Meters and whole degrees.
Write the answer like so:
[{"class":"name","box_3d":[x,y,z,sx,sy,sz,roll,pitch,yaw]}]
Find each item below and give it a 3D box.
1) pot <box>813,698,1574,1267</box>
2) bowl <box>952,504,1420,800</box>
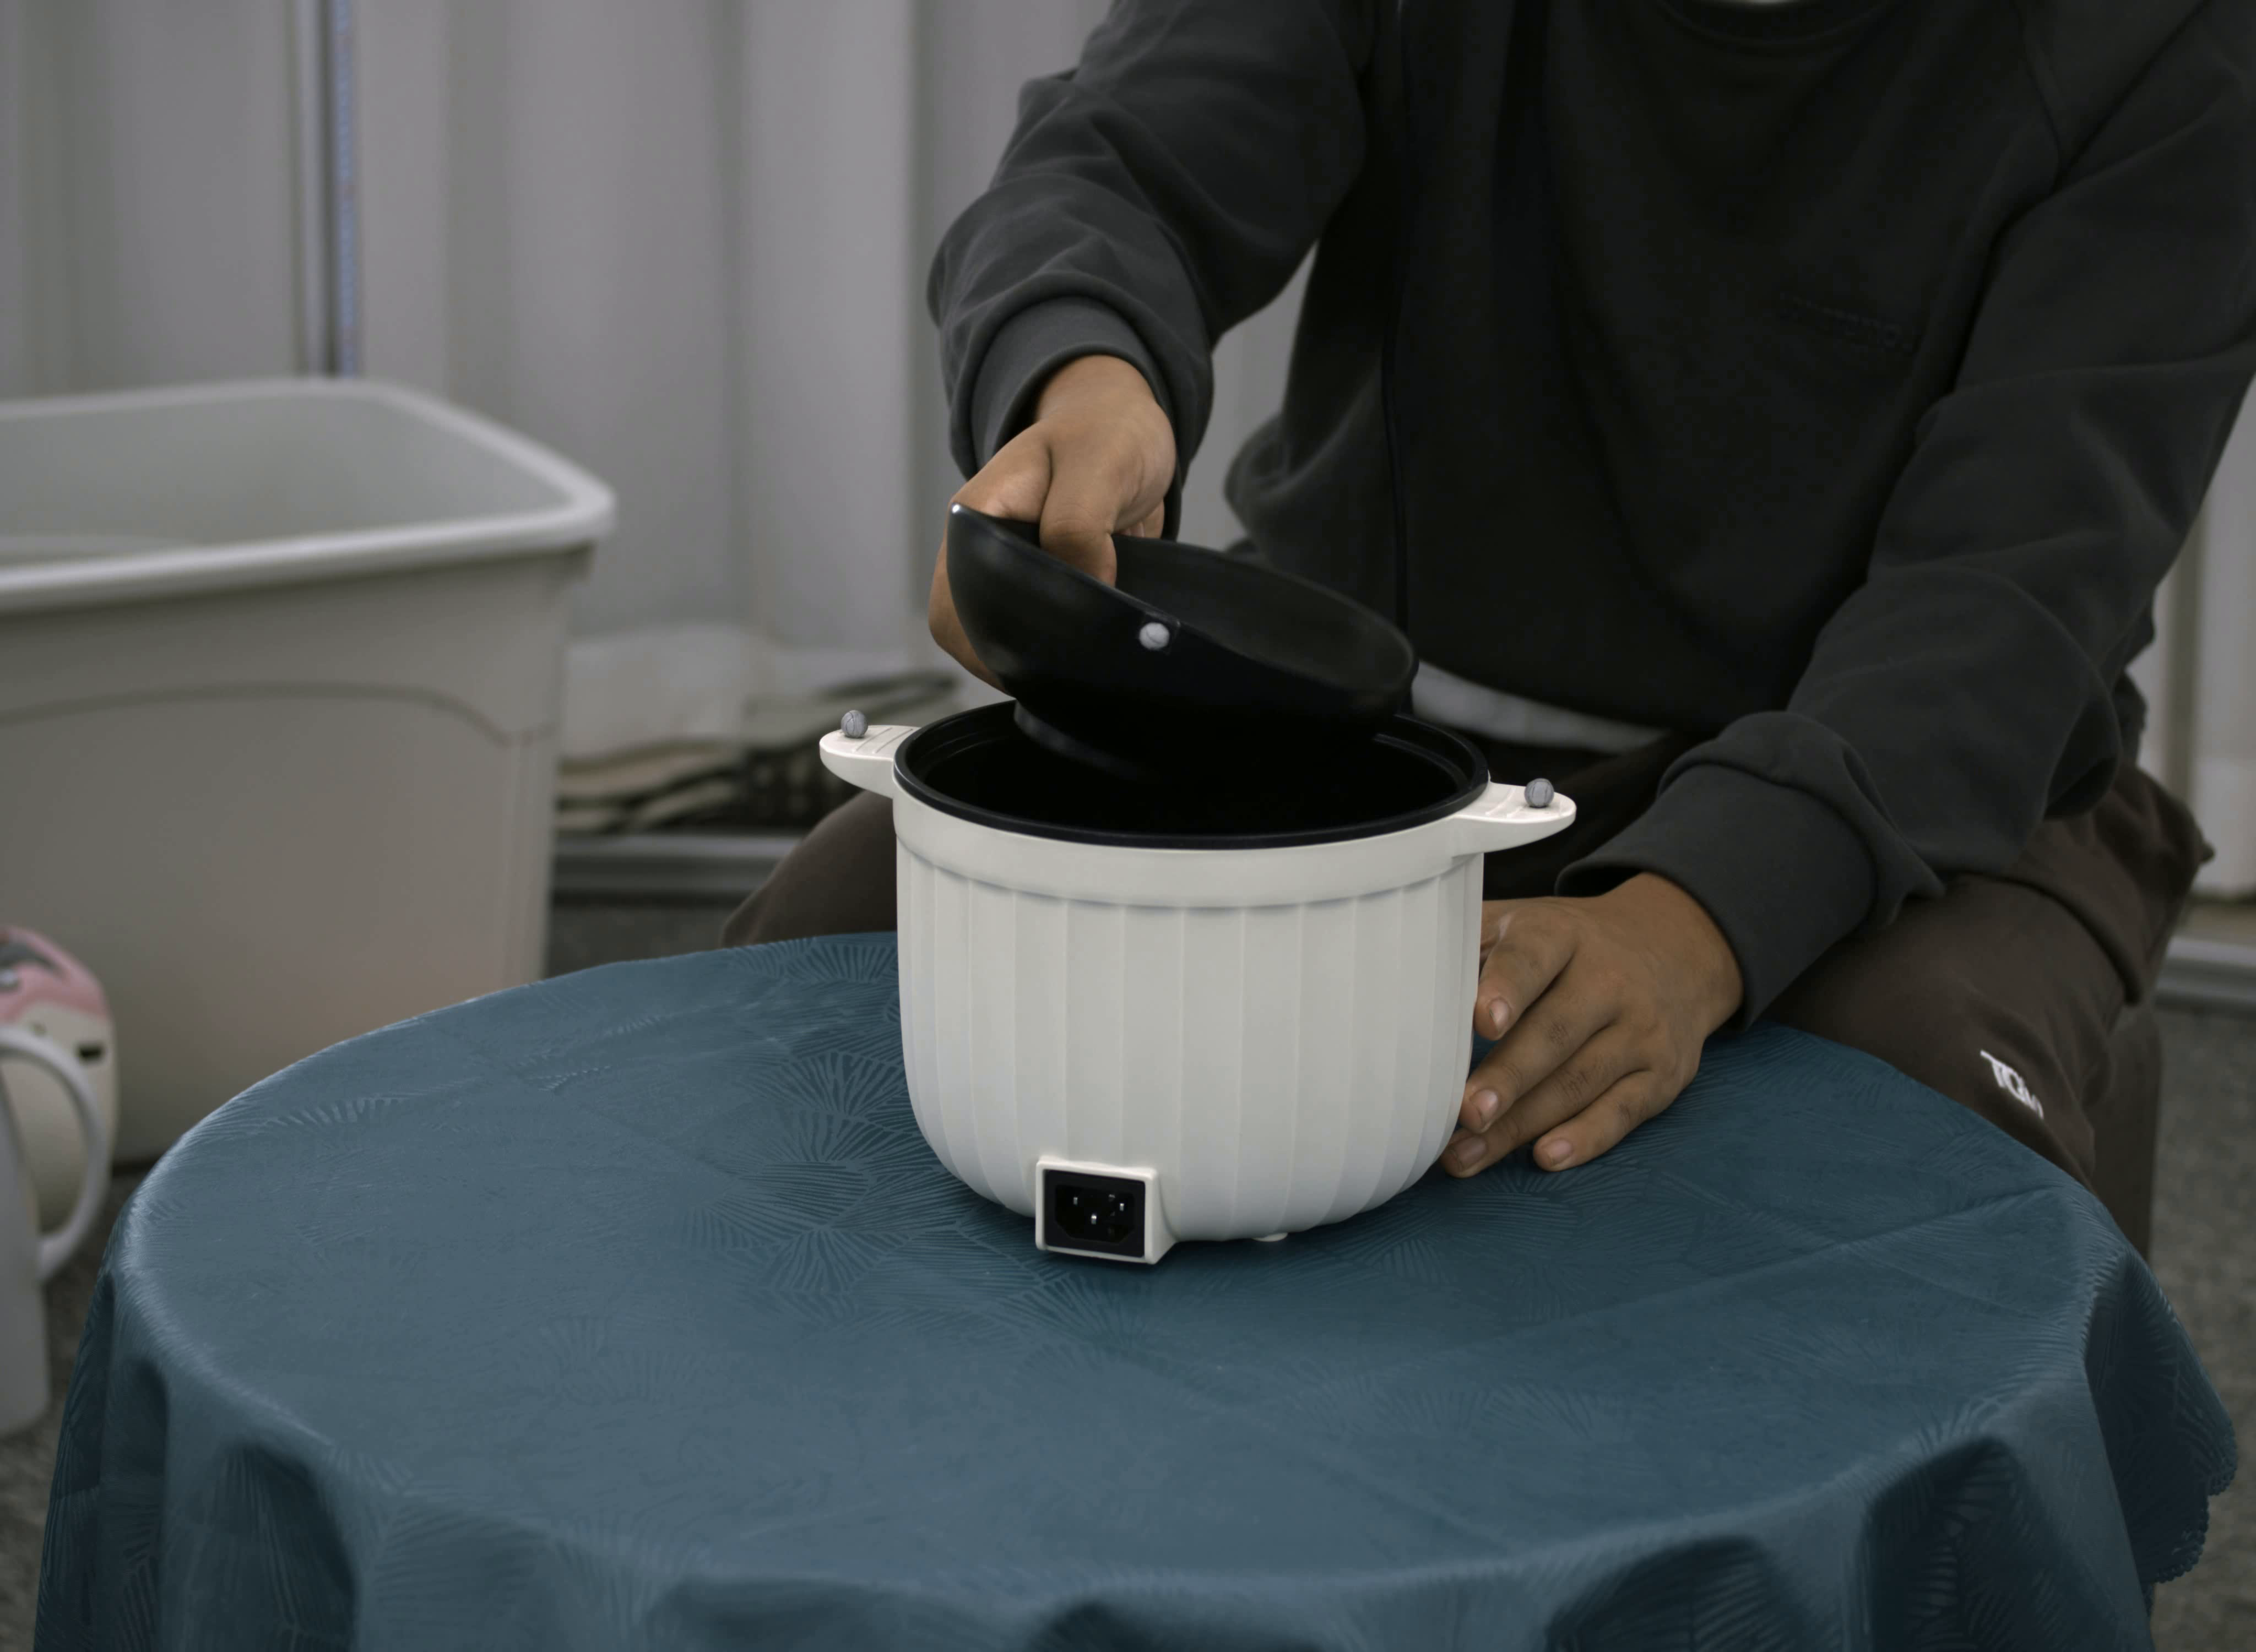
[{"class":"pot","box_3d":[0.018,0.042,1.622,0.238,0.144,0.190,7,20,16]},{"class":"bowl","box_3d":[0.007,-0.049,1.604,0.138,0.067,0.168,10,15,-43]}]
